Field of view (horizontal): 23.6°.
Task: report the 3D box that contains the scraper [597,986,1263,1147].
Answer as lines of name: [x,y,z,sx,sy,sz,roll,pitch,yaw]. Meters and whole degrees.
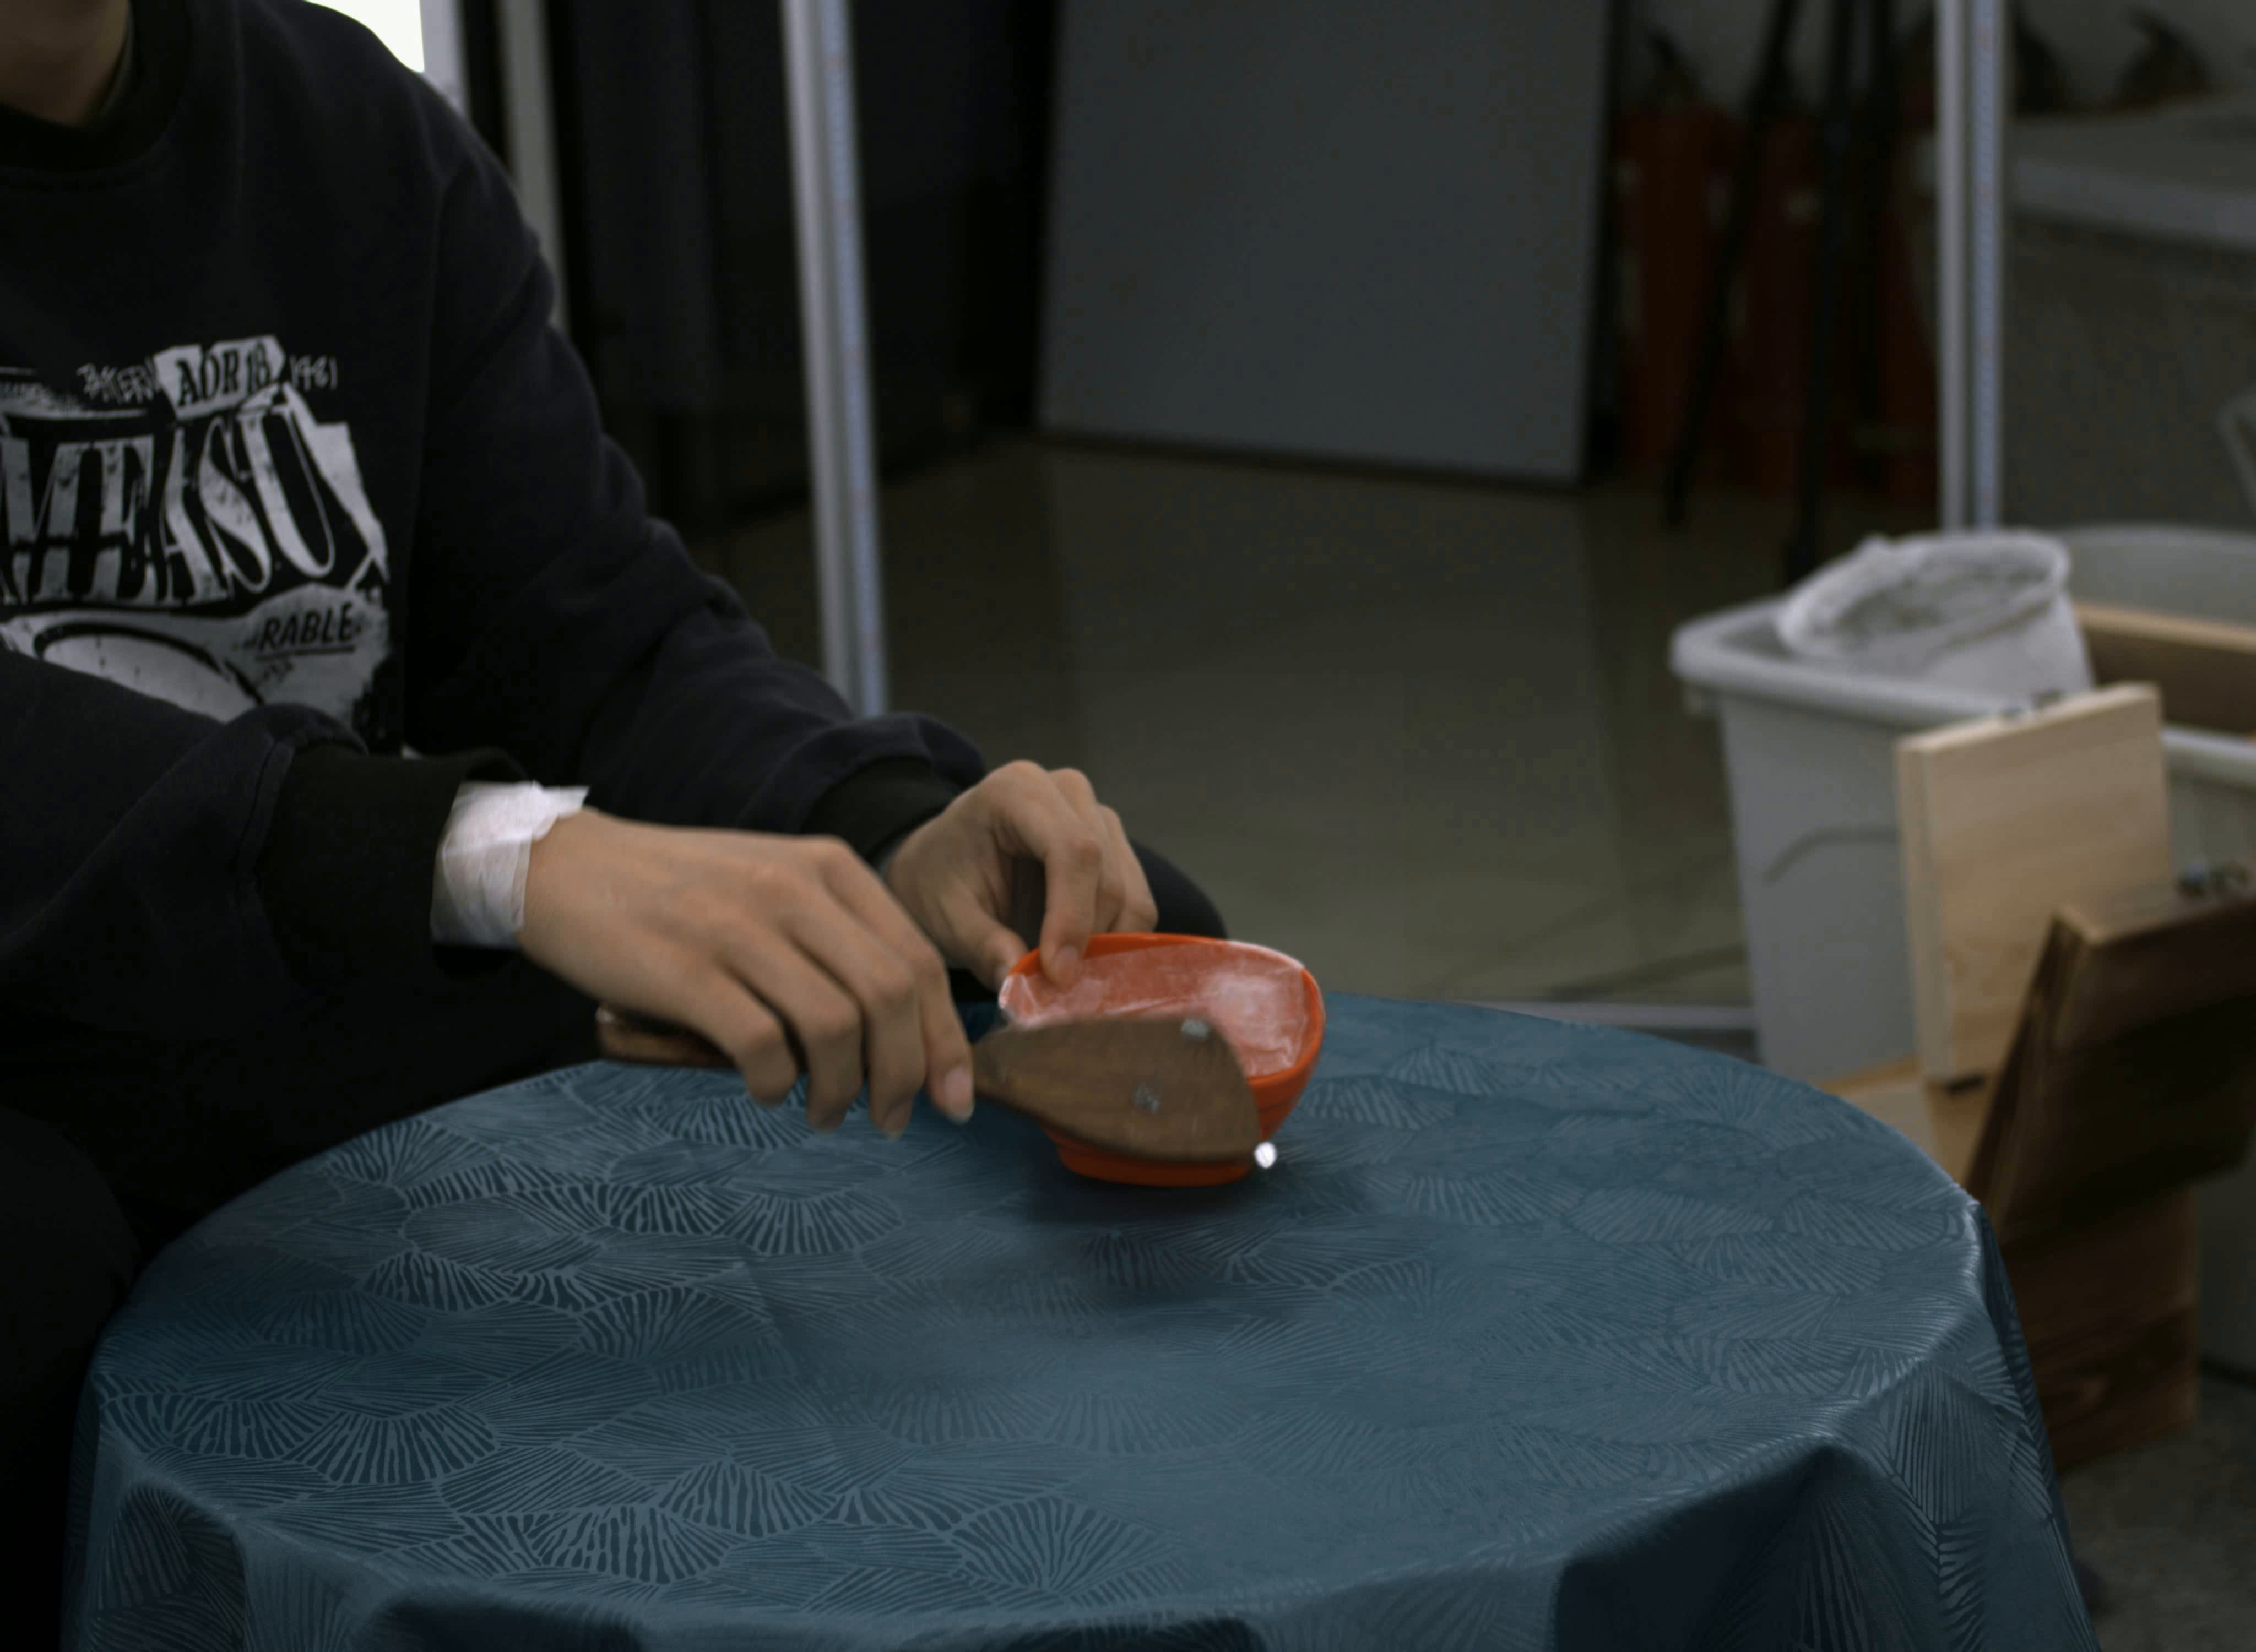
scraper: [-0.061,0.068,1.662,0.207,0.011,0.076,6,34,-16]

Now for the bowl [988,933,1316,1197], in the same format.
bowl: [0.007,0.084,1.791,0.117,0.052,0.119,2,27,-2]
